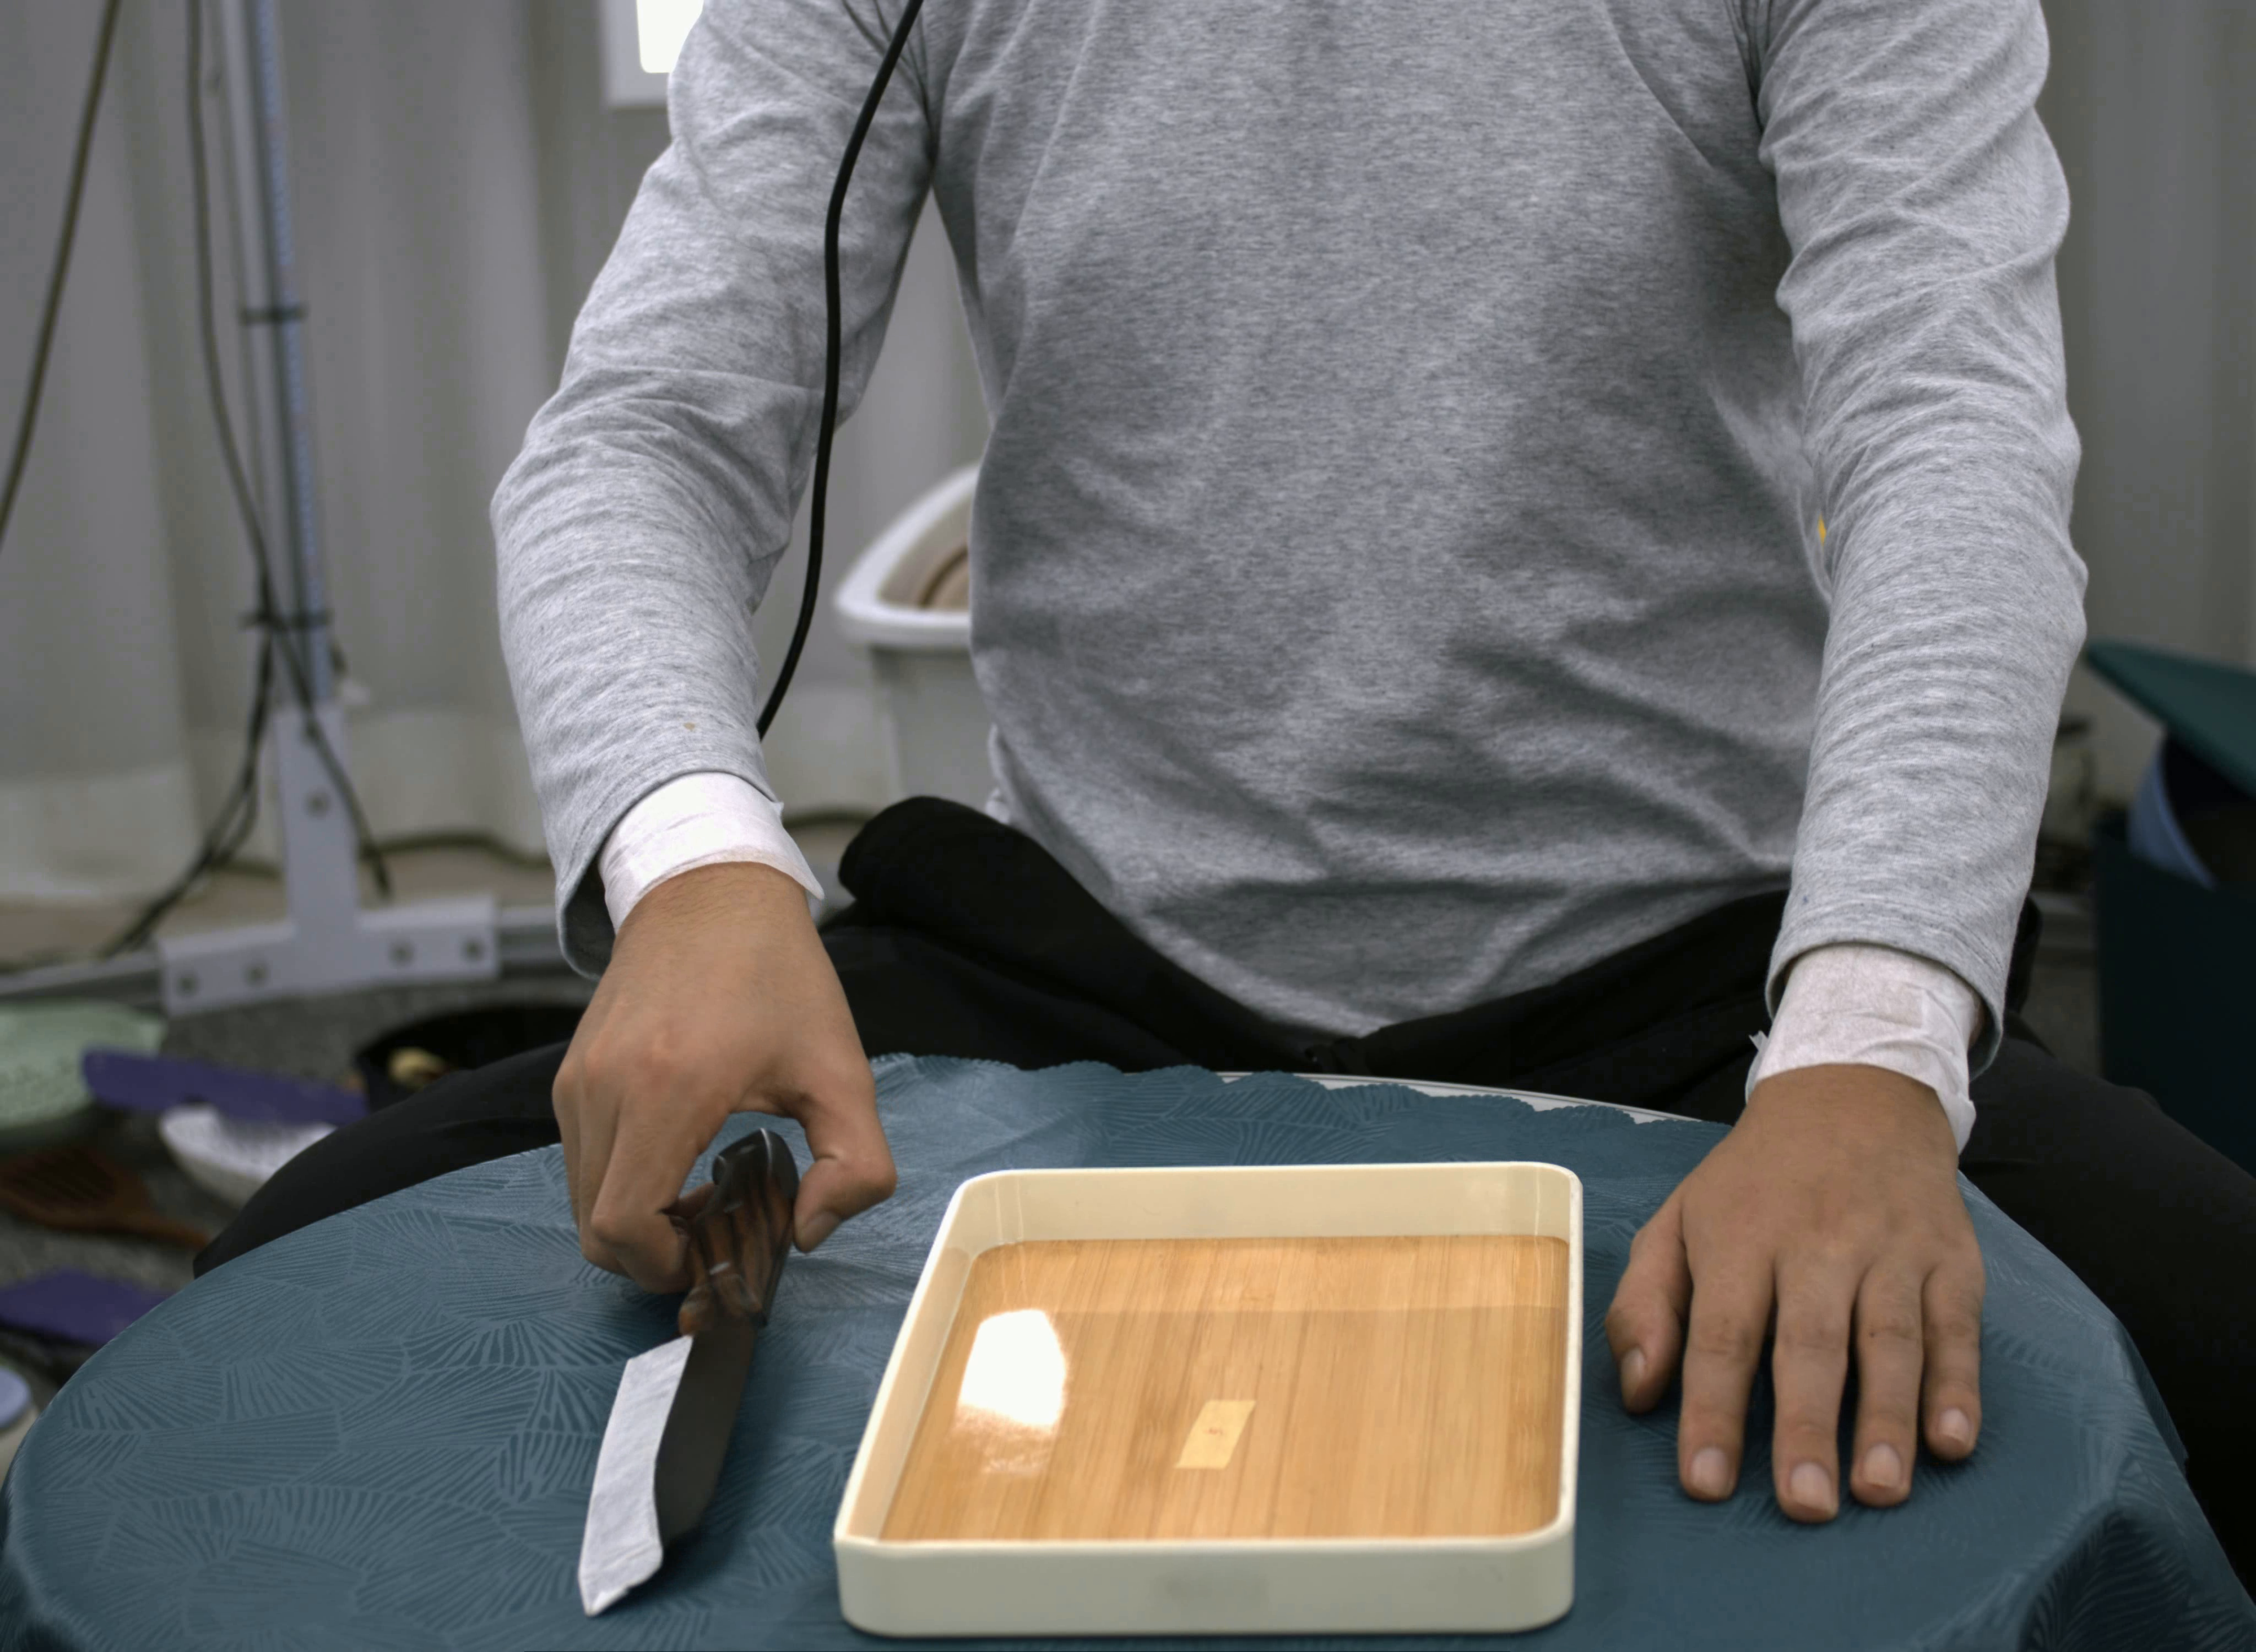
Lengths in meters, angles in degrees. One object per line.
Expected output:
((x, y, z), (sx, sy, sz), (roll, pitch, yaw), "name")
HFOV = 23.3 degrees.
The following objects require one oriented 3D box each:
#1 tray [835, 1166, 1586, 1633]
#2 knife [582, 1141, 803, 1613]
((0.031, 0.154, 1.512), (0.191, 0.027, 0.302), (-1, 15, 6), "tray")
((-0.122, 0.153, 1.540), (0.050, 0.020, 0.291), (-22, 16, 12), "knife")
